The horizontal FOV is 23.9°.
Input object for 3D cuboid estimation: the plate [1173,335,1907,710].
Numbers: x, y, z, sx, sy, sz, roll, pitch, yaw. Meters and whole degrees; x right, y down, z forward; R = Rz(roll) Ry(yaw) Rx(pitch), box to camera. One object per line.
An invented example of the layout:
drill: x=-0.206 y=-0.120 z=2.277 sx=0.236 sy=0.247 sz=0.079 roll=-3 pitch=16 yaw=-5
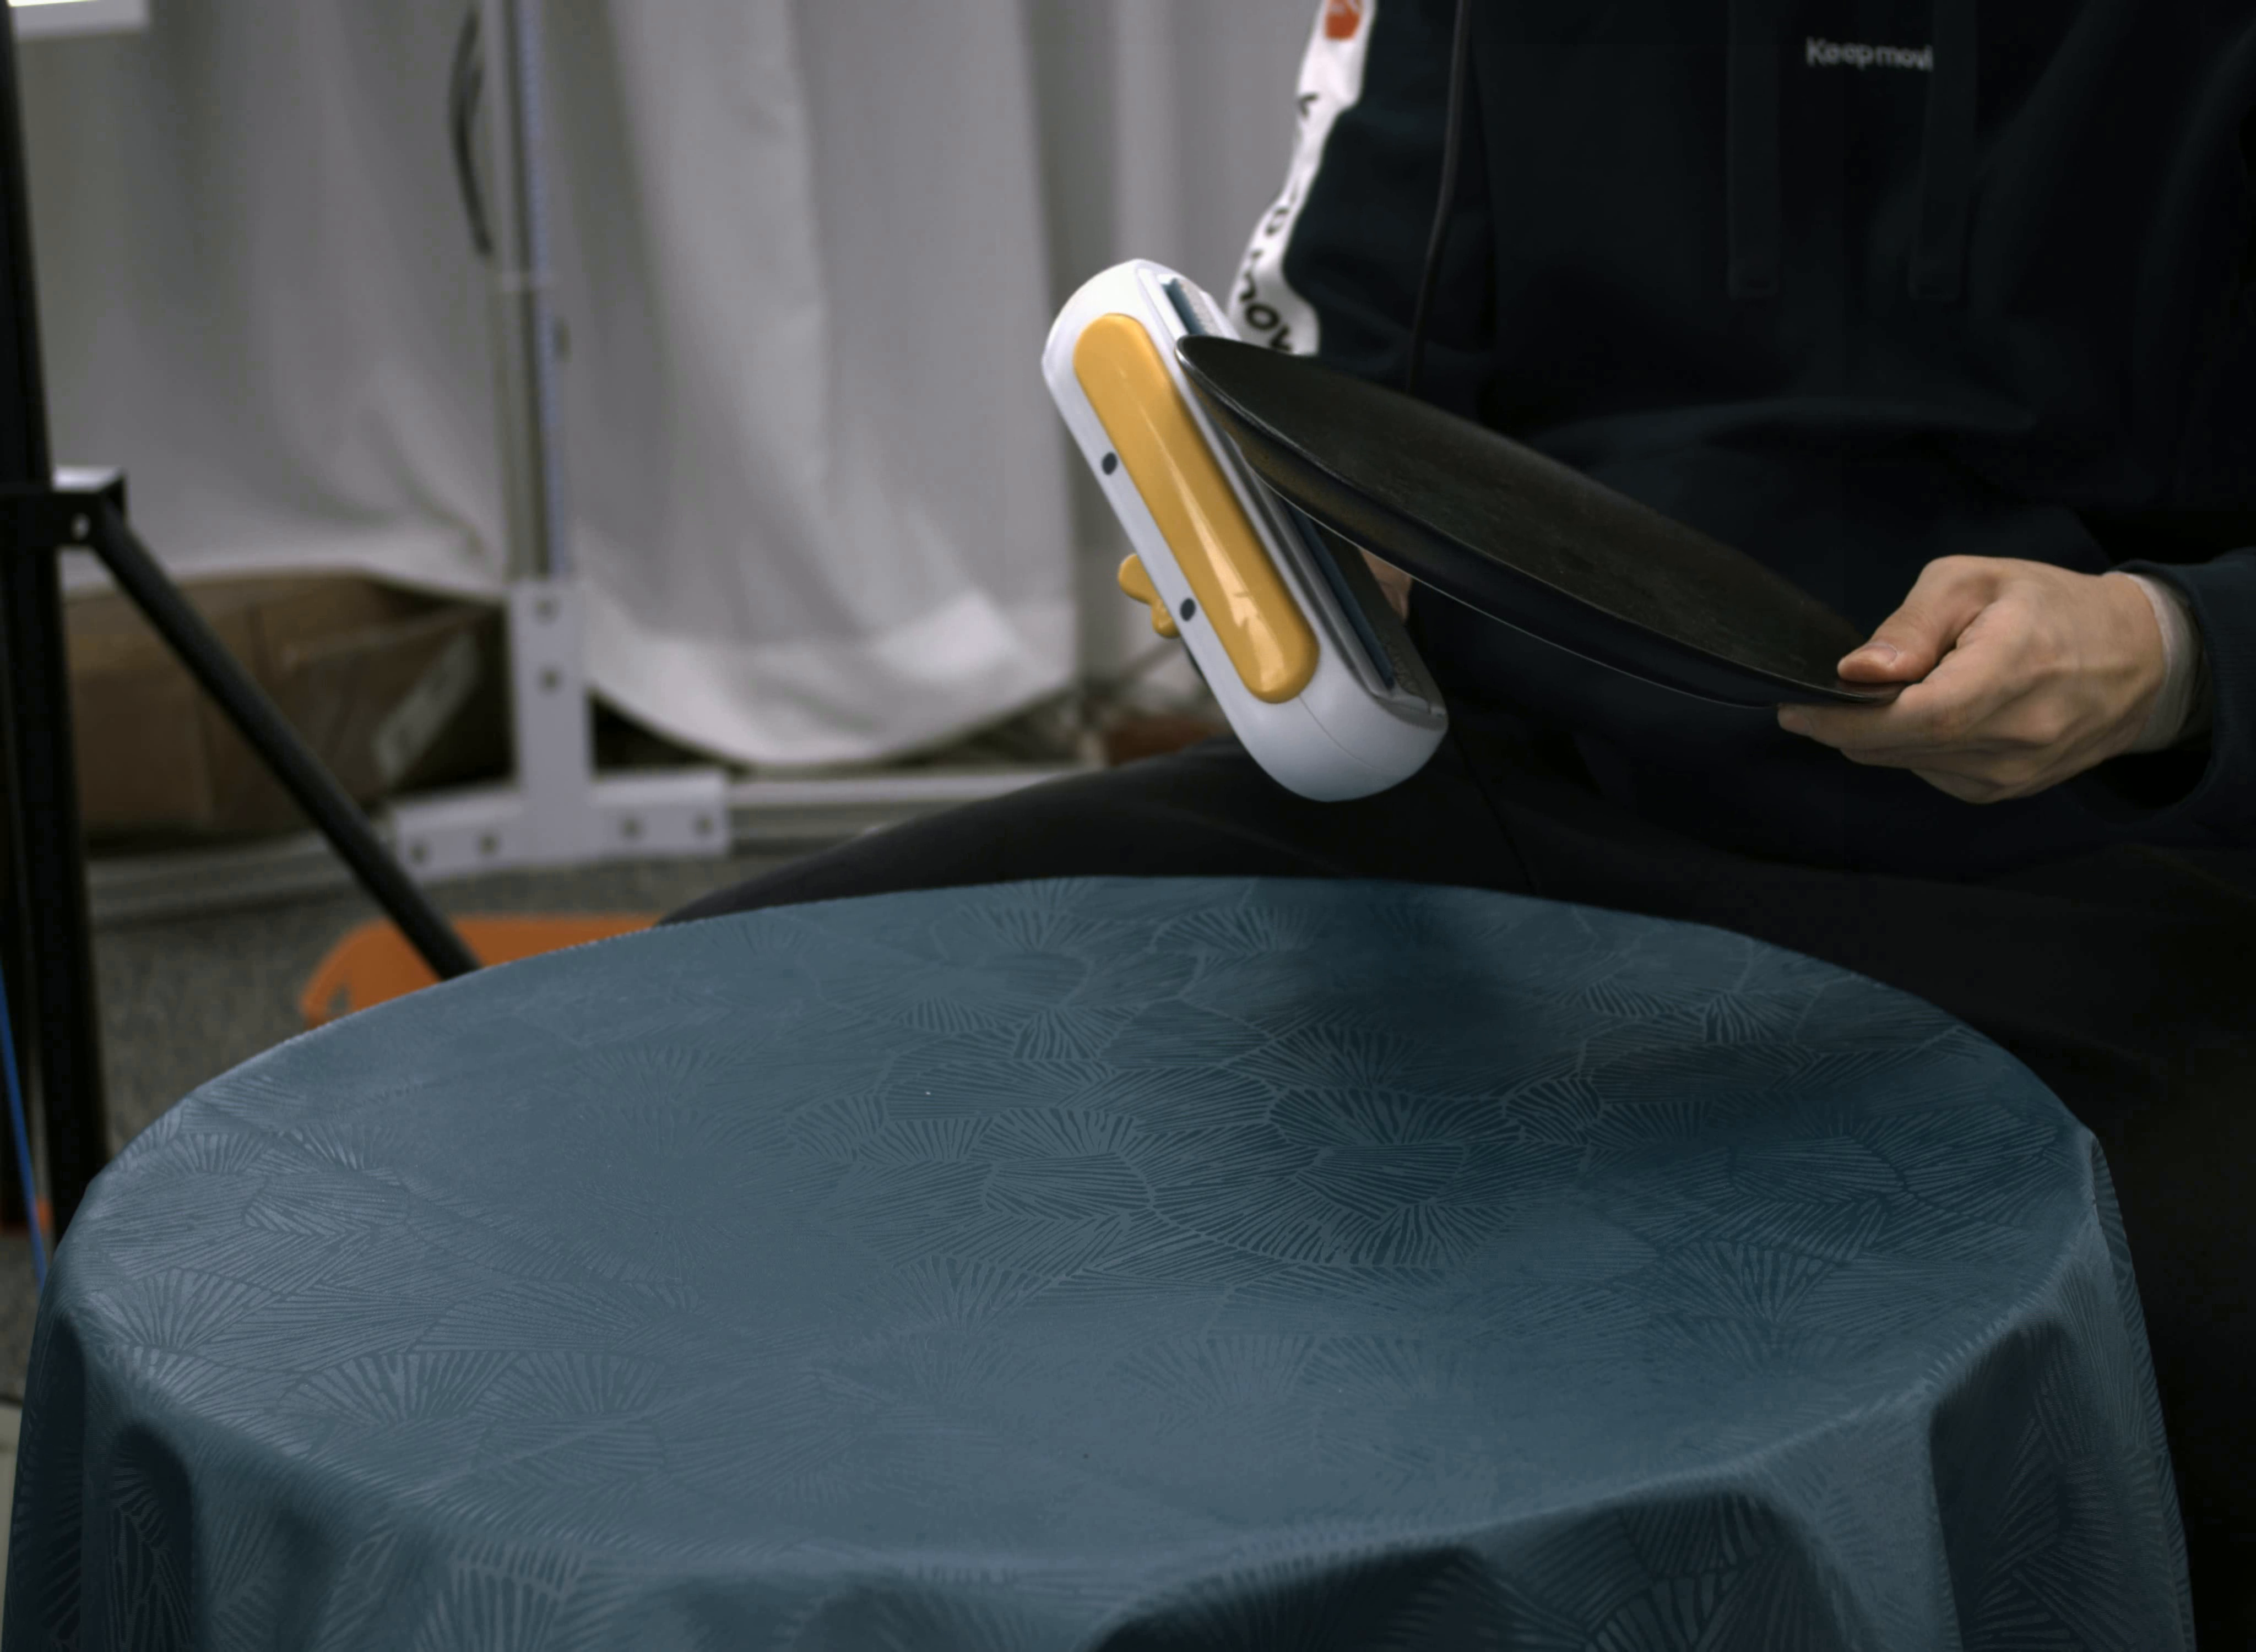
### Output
plate: x=0.120 y=-0.086 z=1.600 sx=0.242 sy=0.023 sz=0.245 roll=23 pitch=13 yaw=-7

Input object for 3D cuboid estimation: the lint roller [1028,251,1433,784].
lint roller: x=0.054 y=-0.077 z=1.709 sx=0.188 sy=0.074 sz=0.196 roll=30 pitch=24 yaw=-56
